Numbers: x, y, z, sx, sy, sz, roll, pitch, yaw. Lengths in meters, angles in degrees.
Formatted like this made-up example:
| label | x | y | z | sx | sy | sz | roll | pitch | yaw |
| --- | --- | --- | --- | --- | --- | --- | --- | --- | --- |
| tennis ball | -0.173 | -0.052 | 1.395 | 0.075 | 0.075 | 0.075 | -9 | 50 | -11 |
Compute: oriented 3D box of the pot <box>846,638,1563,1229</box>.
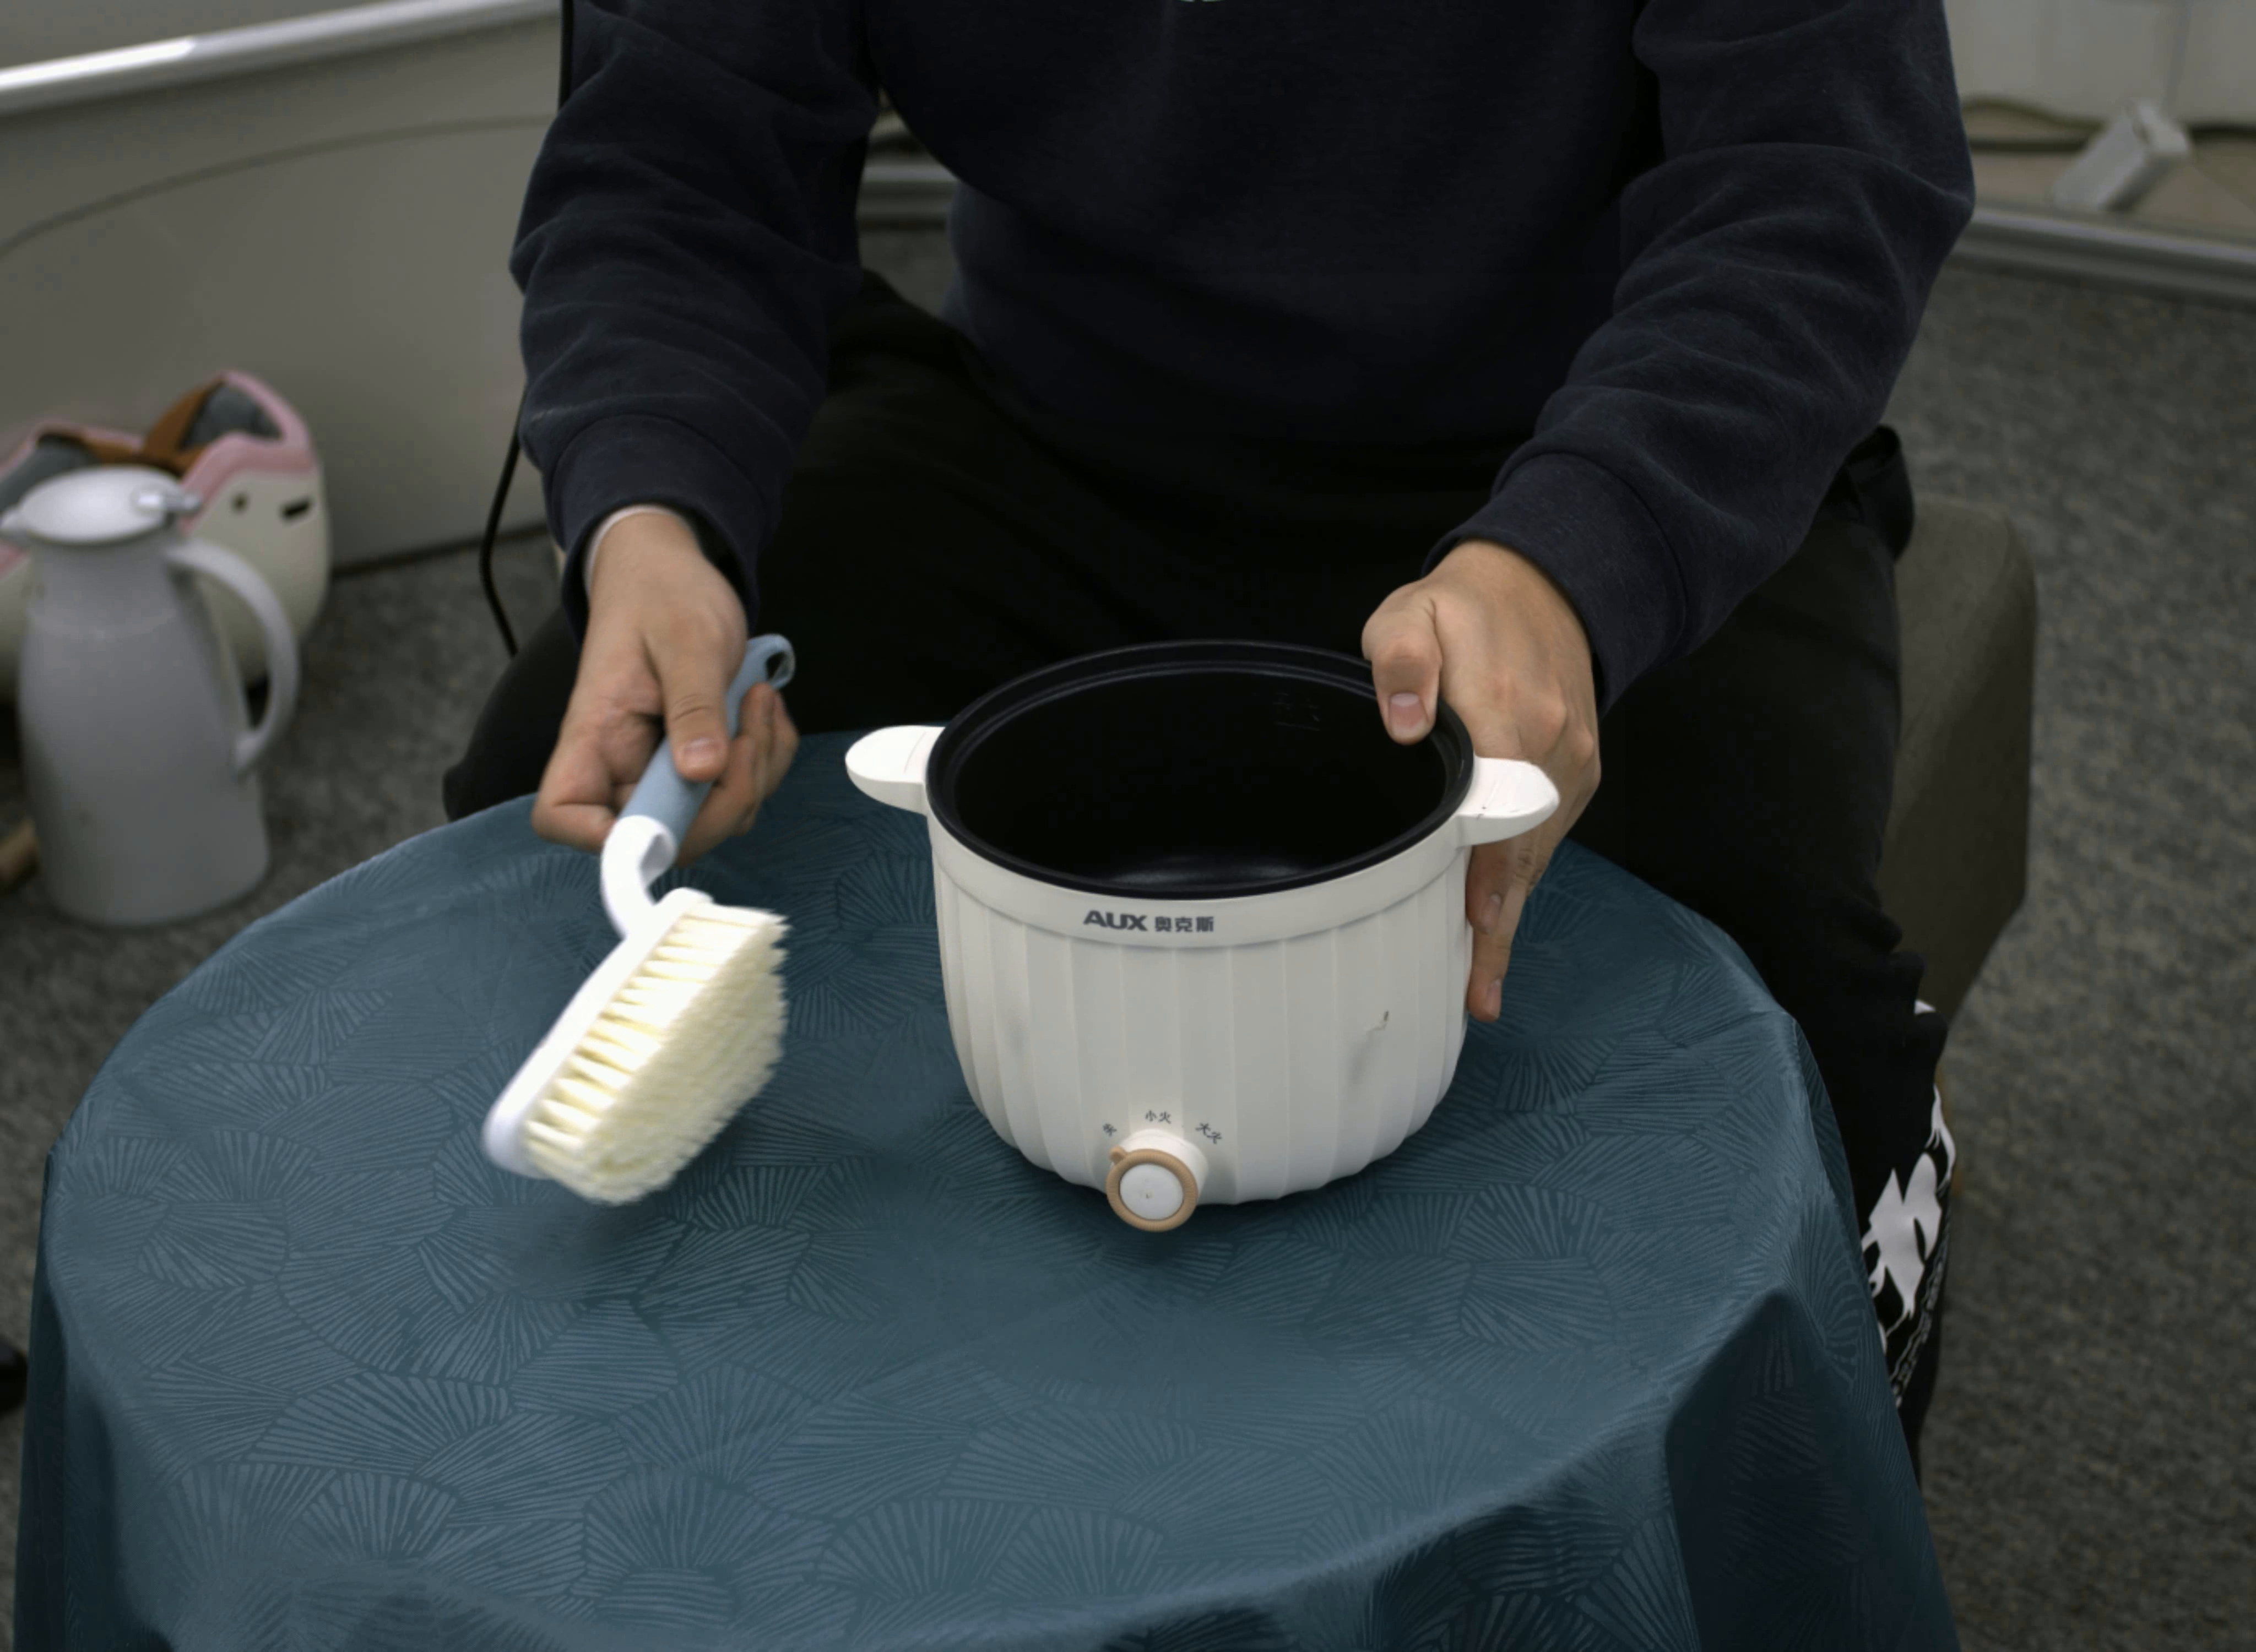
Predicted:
| label | x | y | z | sx | sy | sz | roll | pitch | yaw |
| --- | --- | --- | --- | --- | --- | --- | --- | --- | --- |
| pot | 0.026 | 0.039 | 1.874 | 0.239 | 0.141 | 0.193 | 2 | 24 | 11 |

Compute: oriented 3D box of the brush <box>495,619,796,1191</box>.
| label | x | y | z | sx | sy | sz | roll | pitch | yaw |
| --- | --- | --- | --- | --- | --- | --- | --- | --- | --- |
| brush | -0.134 | 0.018 | 1.943 | 0.084 | 0.082 | 0.331 | 38 | 33 | -11 |
